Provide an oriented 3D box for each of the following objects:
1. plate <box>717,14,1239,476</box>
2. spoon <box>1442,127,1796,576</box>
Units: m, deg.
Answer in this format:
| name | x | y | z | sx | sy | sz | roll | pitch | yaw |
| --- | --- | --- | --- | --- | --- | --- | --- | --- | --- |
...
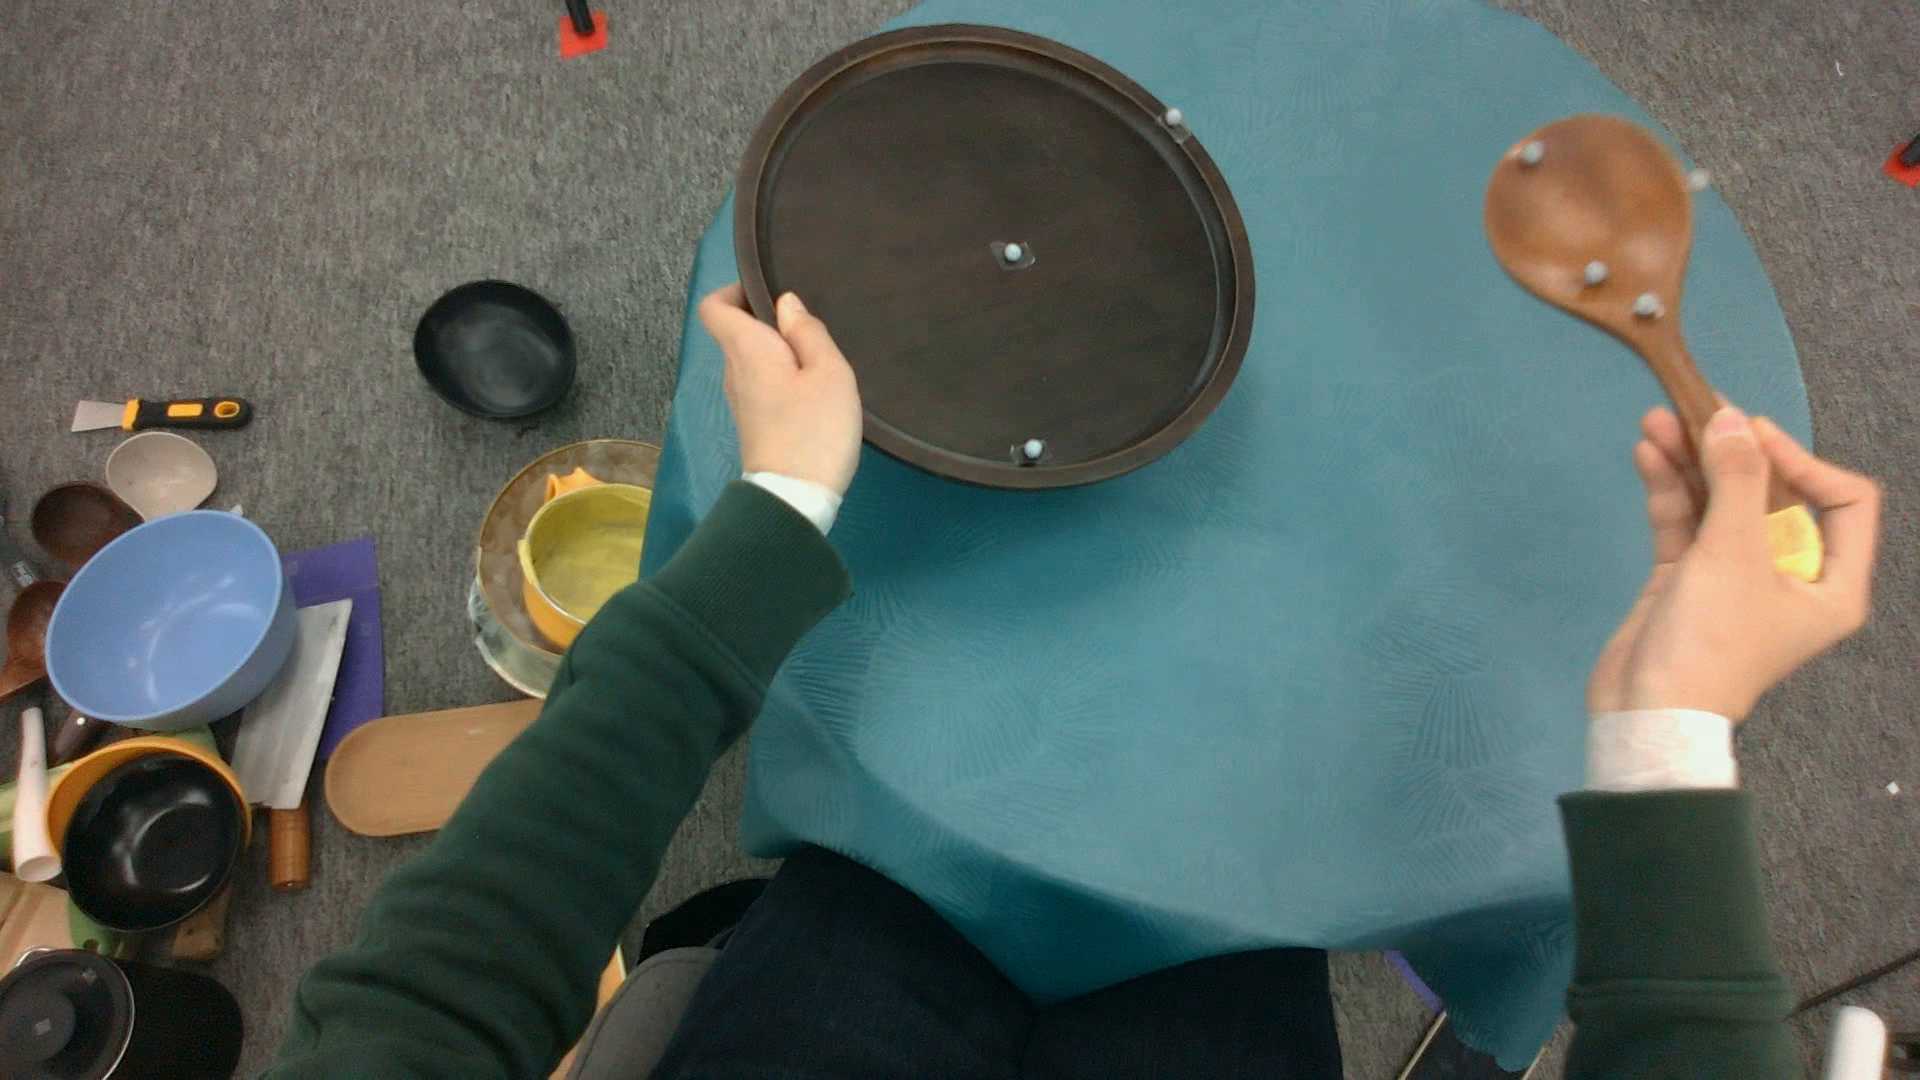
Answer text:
| name | x | y | z | sx | sy | sz | roll | pitch | yaw |
| --- | --- | --- | --- | --- | --- | --- | --- | --- | --- |
| plate | 0.012 | -0.145 | 0.658 | 0.255 | 0.029 | 0.255 | 5 | 66 | -12 |
| spoon | 0.256 | -0.080 | 0.536 | 0.075 | 0.017 | 0.216 | -23 | 59 | 10 |
